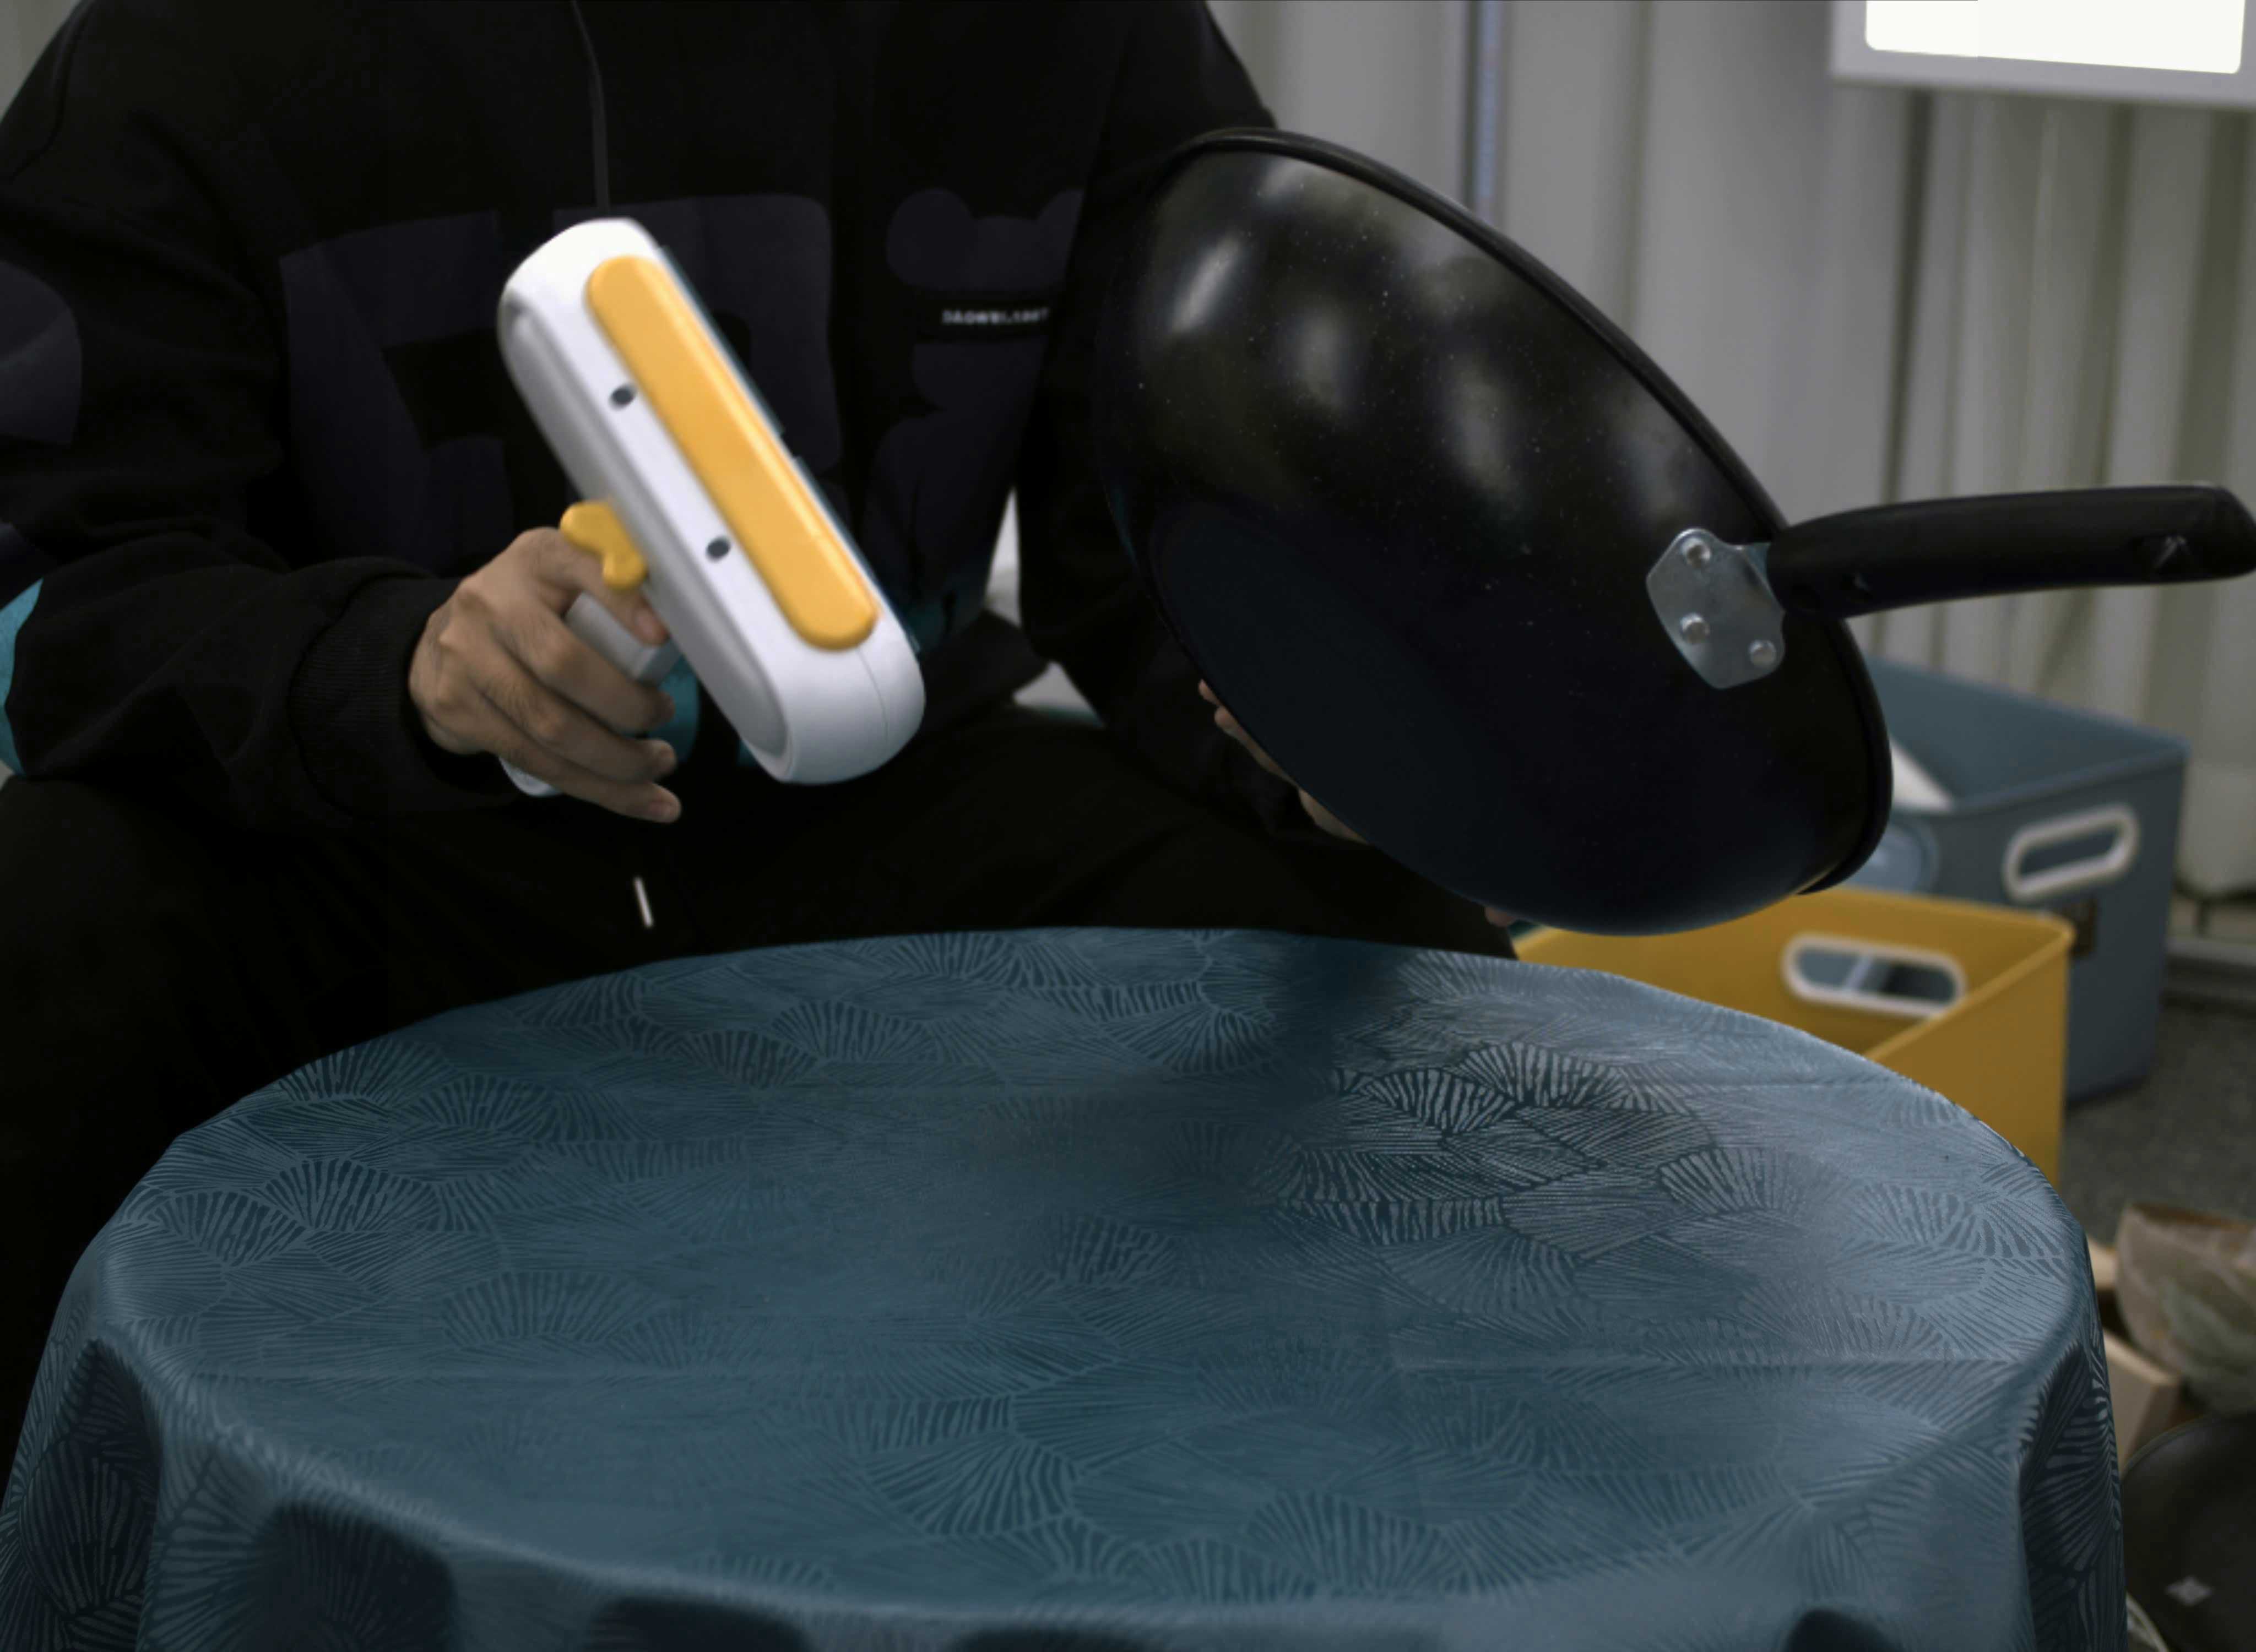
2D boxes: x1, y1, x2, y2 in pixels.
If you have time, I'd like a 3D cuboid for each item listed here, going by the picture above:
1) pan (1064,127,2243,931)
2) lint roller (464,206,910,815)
[{"bbox_3d":[0.134,-0.070,1.559,0.111,0.314,0.471,-47,26,-18],"label":"pan"},{"bbox_3d":[-0.152,-0.071,1.642,0.074,0.193,0.191,-32,73,-28],"label":"lint roller"}]
